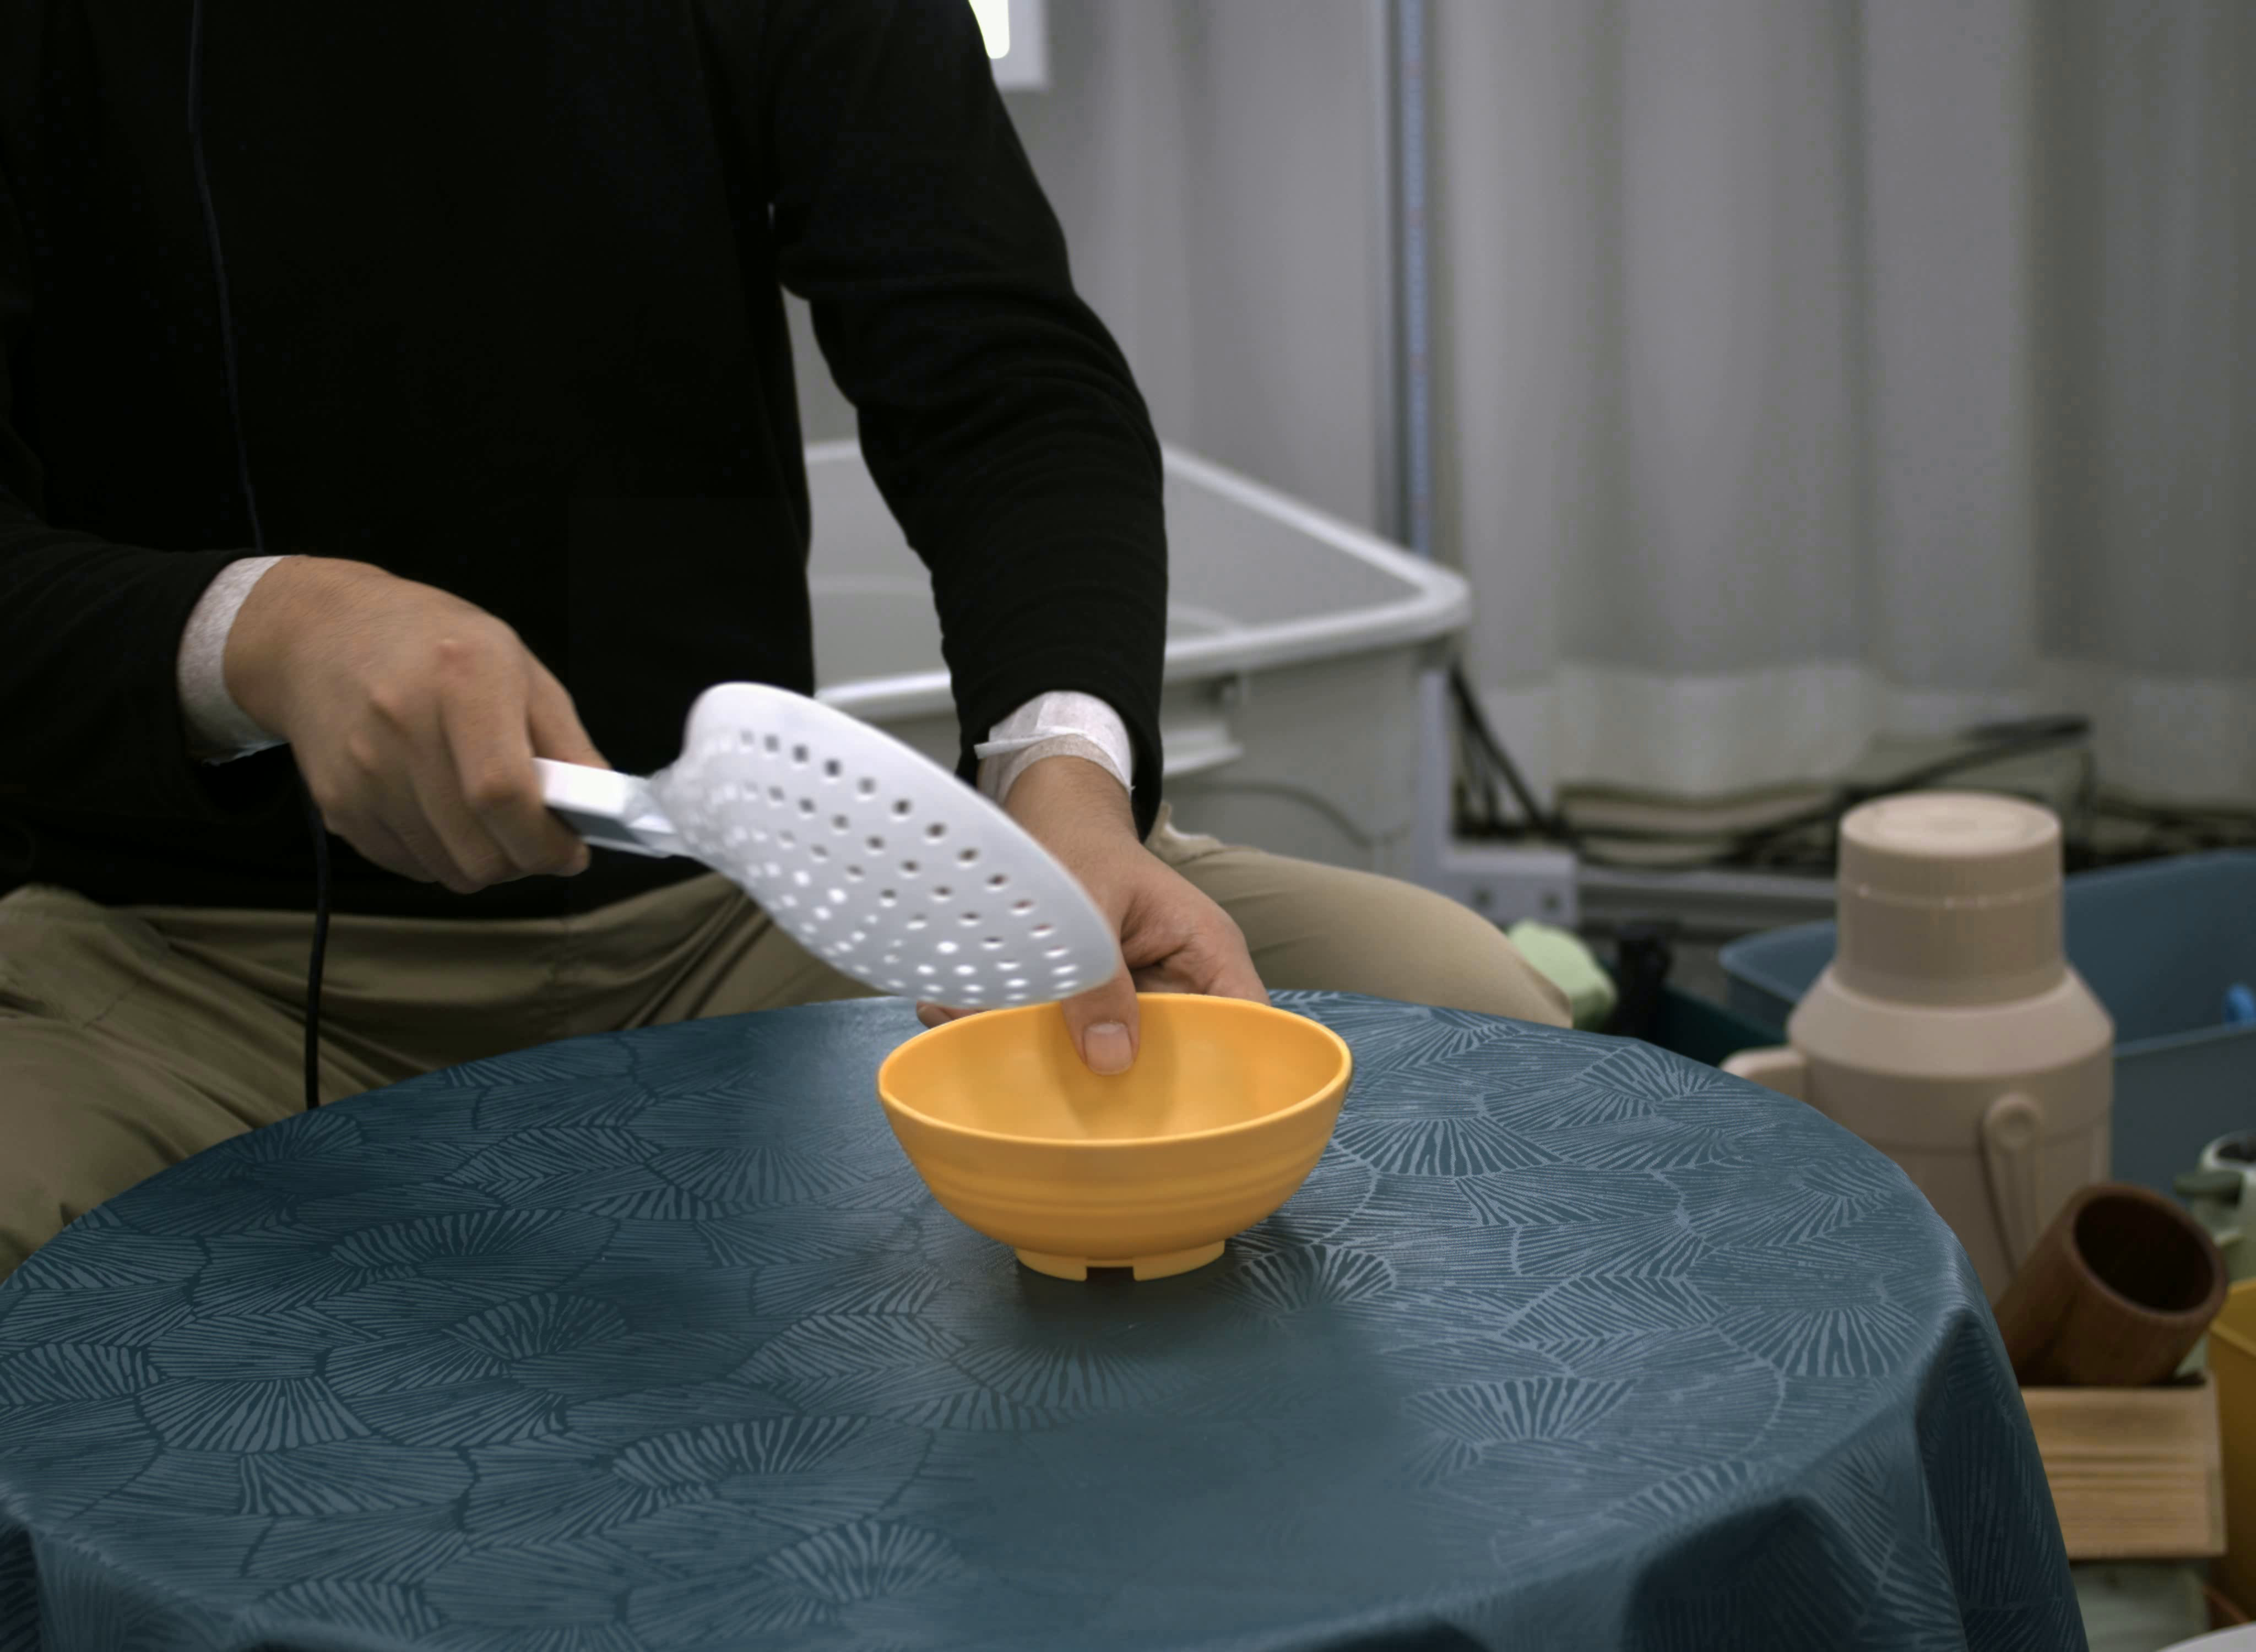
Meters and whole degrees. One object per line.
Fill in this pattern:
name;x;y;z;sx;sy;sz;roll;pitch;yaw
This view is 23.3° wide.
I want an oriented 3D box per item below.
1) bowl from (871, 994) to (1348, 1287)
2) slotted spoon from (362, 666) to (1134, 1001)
bowl;-0.005;0.101;1.656;0.145;0.060;0.146;0;15;0
slotted spoon;-0.126;-0.004;1.586;0.046;0.134;0.352;-53;33;-15
